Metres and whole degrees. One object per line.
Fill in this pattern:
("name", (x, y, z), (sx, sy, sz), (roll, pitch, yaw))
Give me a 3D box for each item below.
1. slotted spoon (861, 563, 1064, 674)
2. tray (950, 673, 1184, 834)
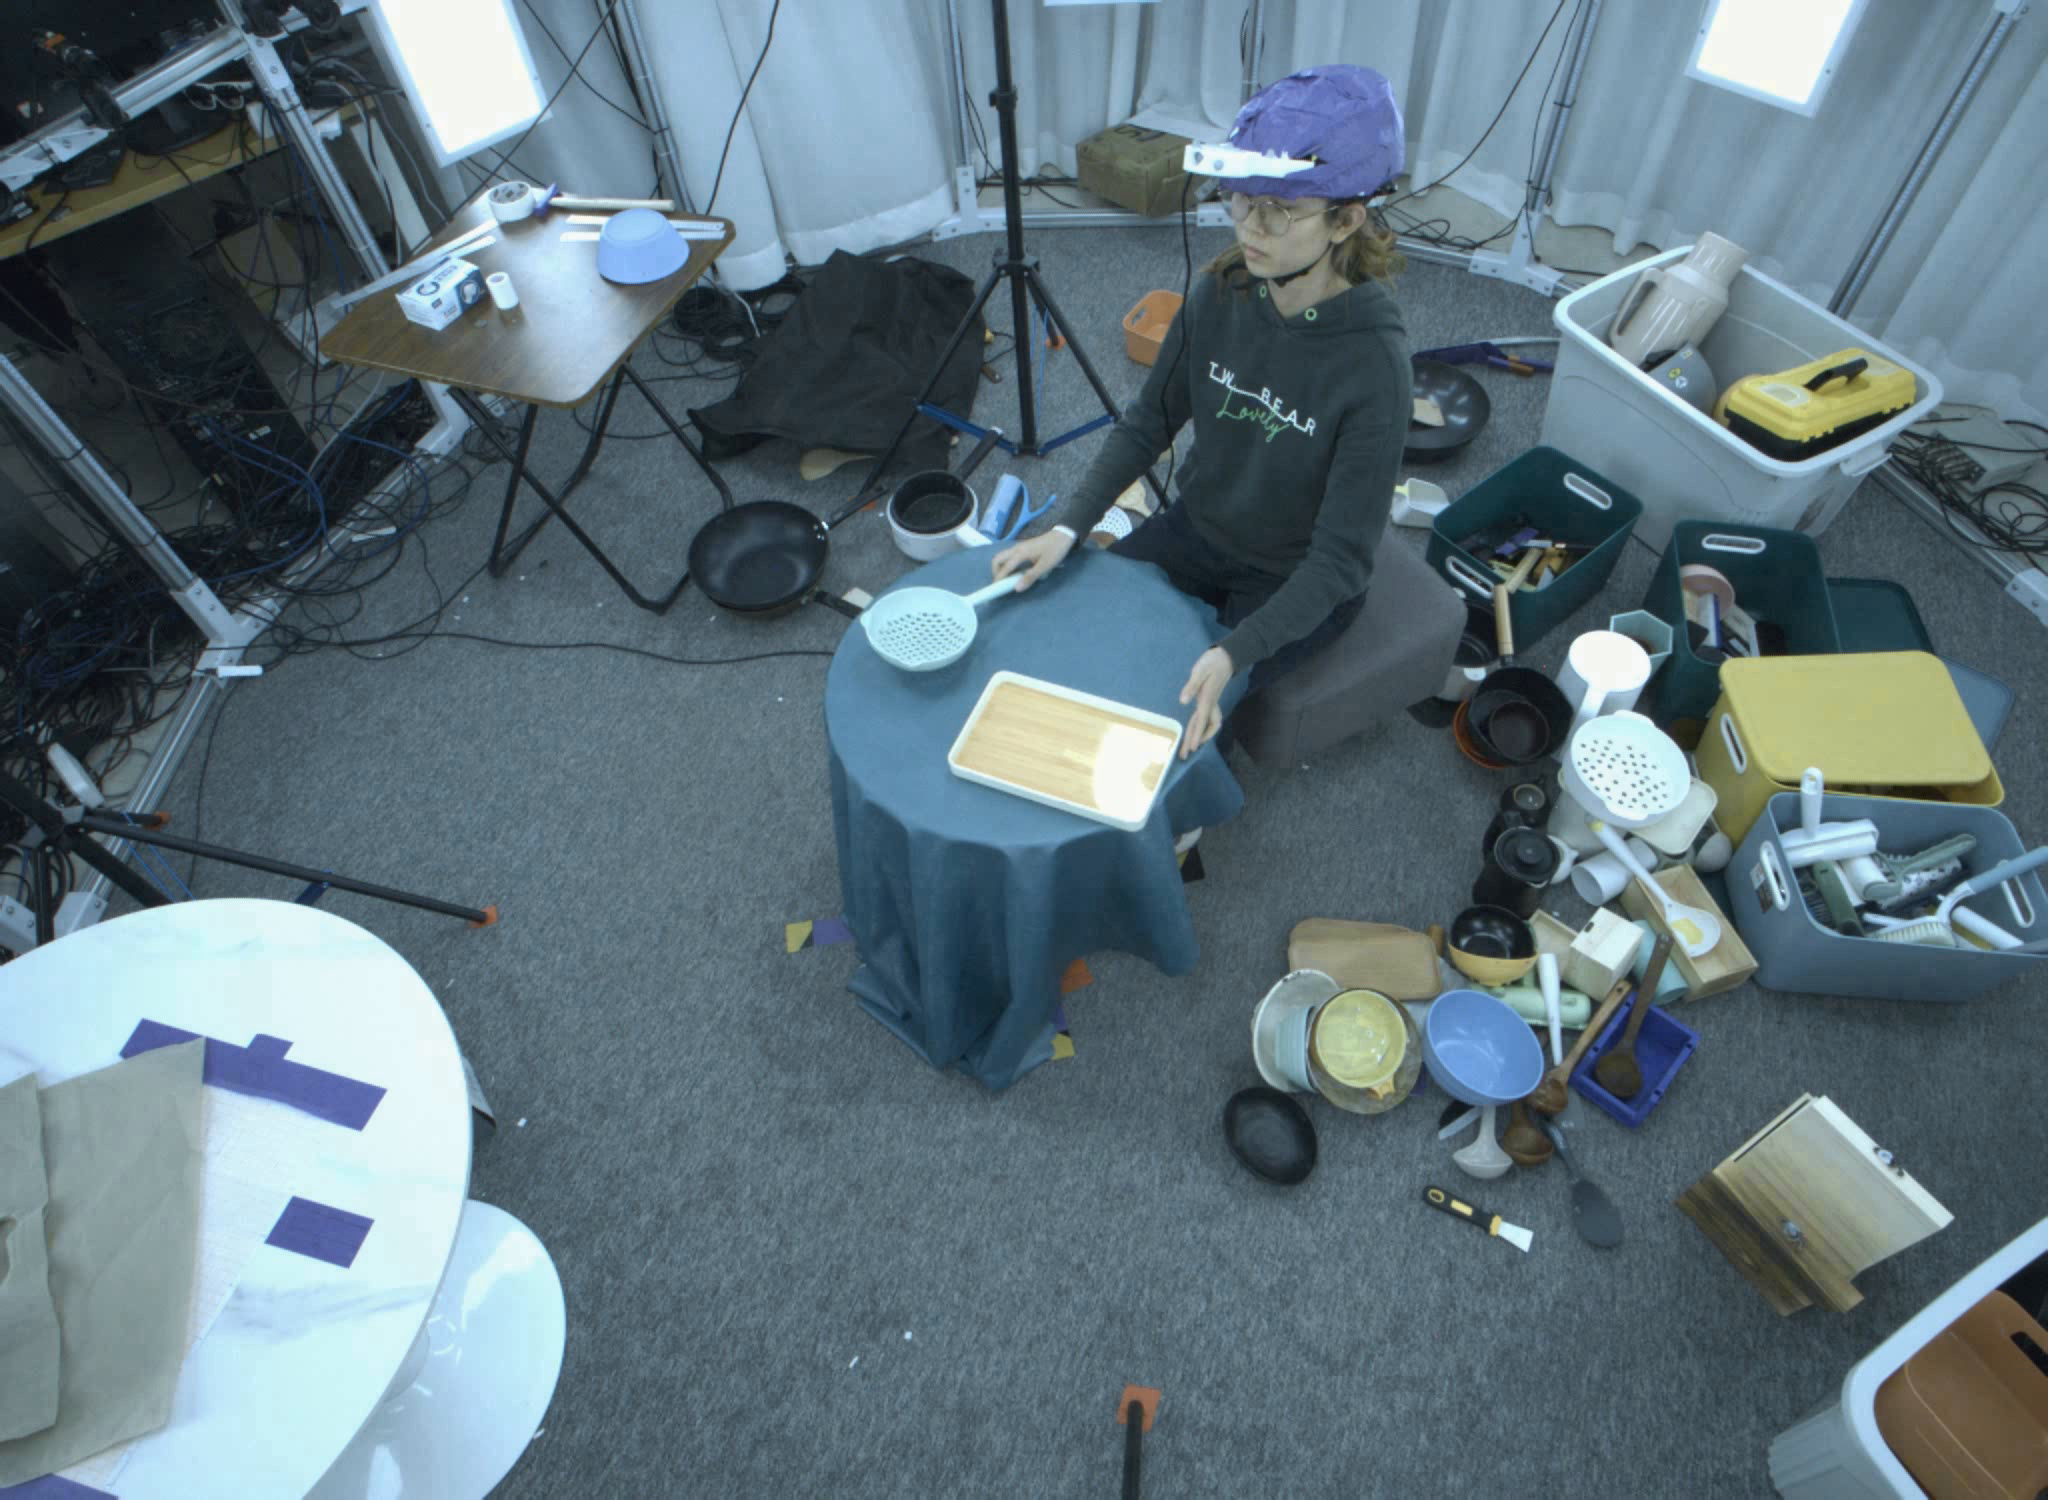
("slotted spoon", (-0.080, -0.224, 1.918), (0.361, 0.076, 0.166), (-35, 60, -21))
("tray", (0.063, 0.001, 1.779), (0.297, 0.028, 0.191), (18, 58, 13))
